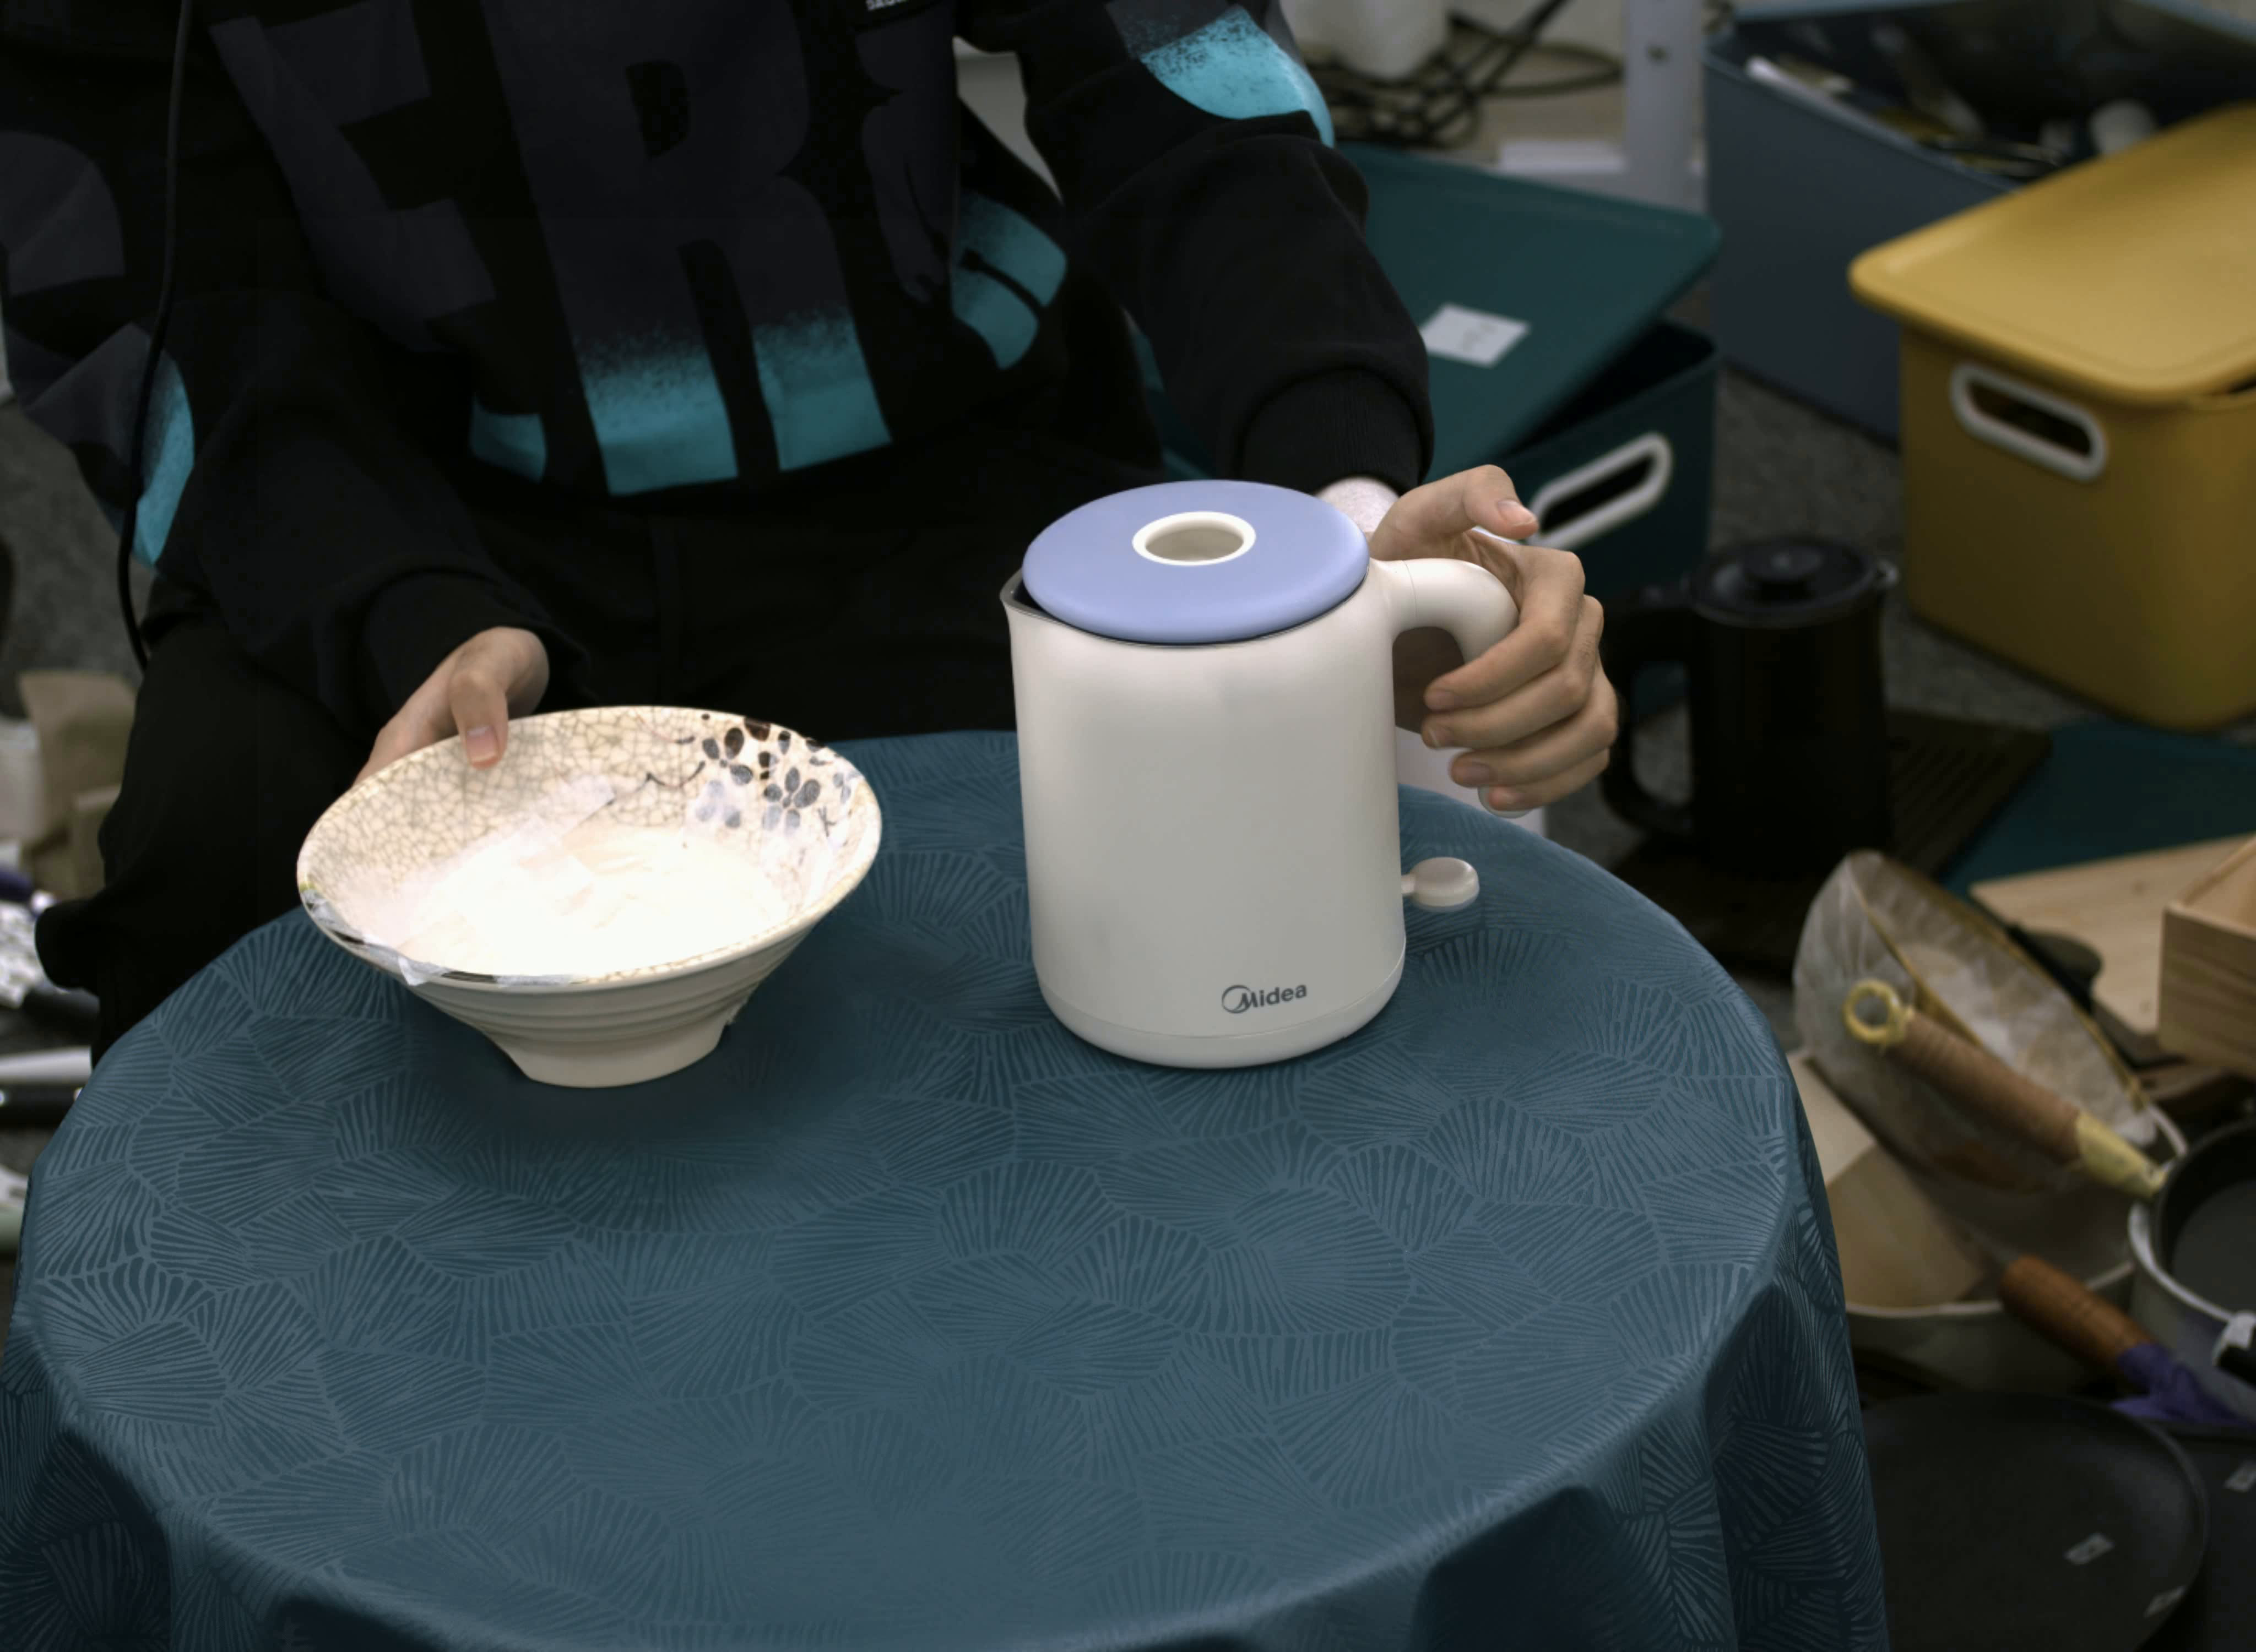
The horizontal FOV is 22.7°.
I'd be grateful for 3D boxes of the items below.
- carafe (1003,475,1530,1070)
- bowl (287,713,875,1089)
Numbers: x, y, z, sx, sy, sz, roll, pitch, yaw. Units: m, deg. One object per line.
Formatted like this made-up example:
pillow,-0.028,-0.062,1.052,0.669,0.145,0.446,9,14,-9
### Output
carafe,0.050,-0.022,1.950,0.191,0.180,0.133,-8,28,-14
bowl,-0.187,0.037,1.954,0.203,0.077,0.207,-2,25,1
